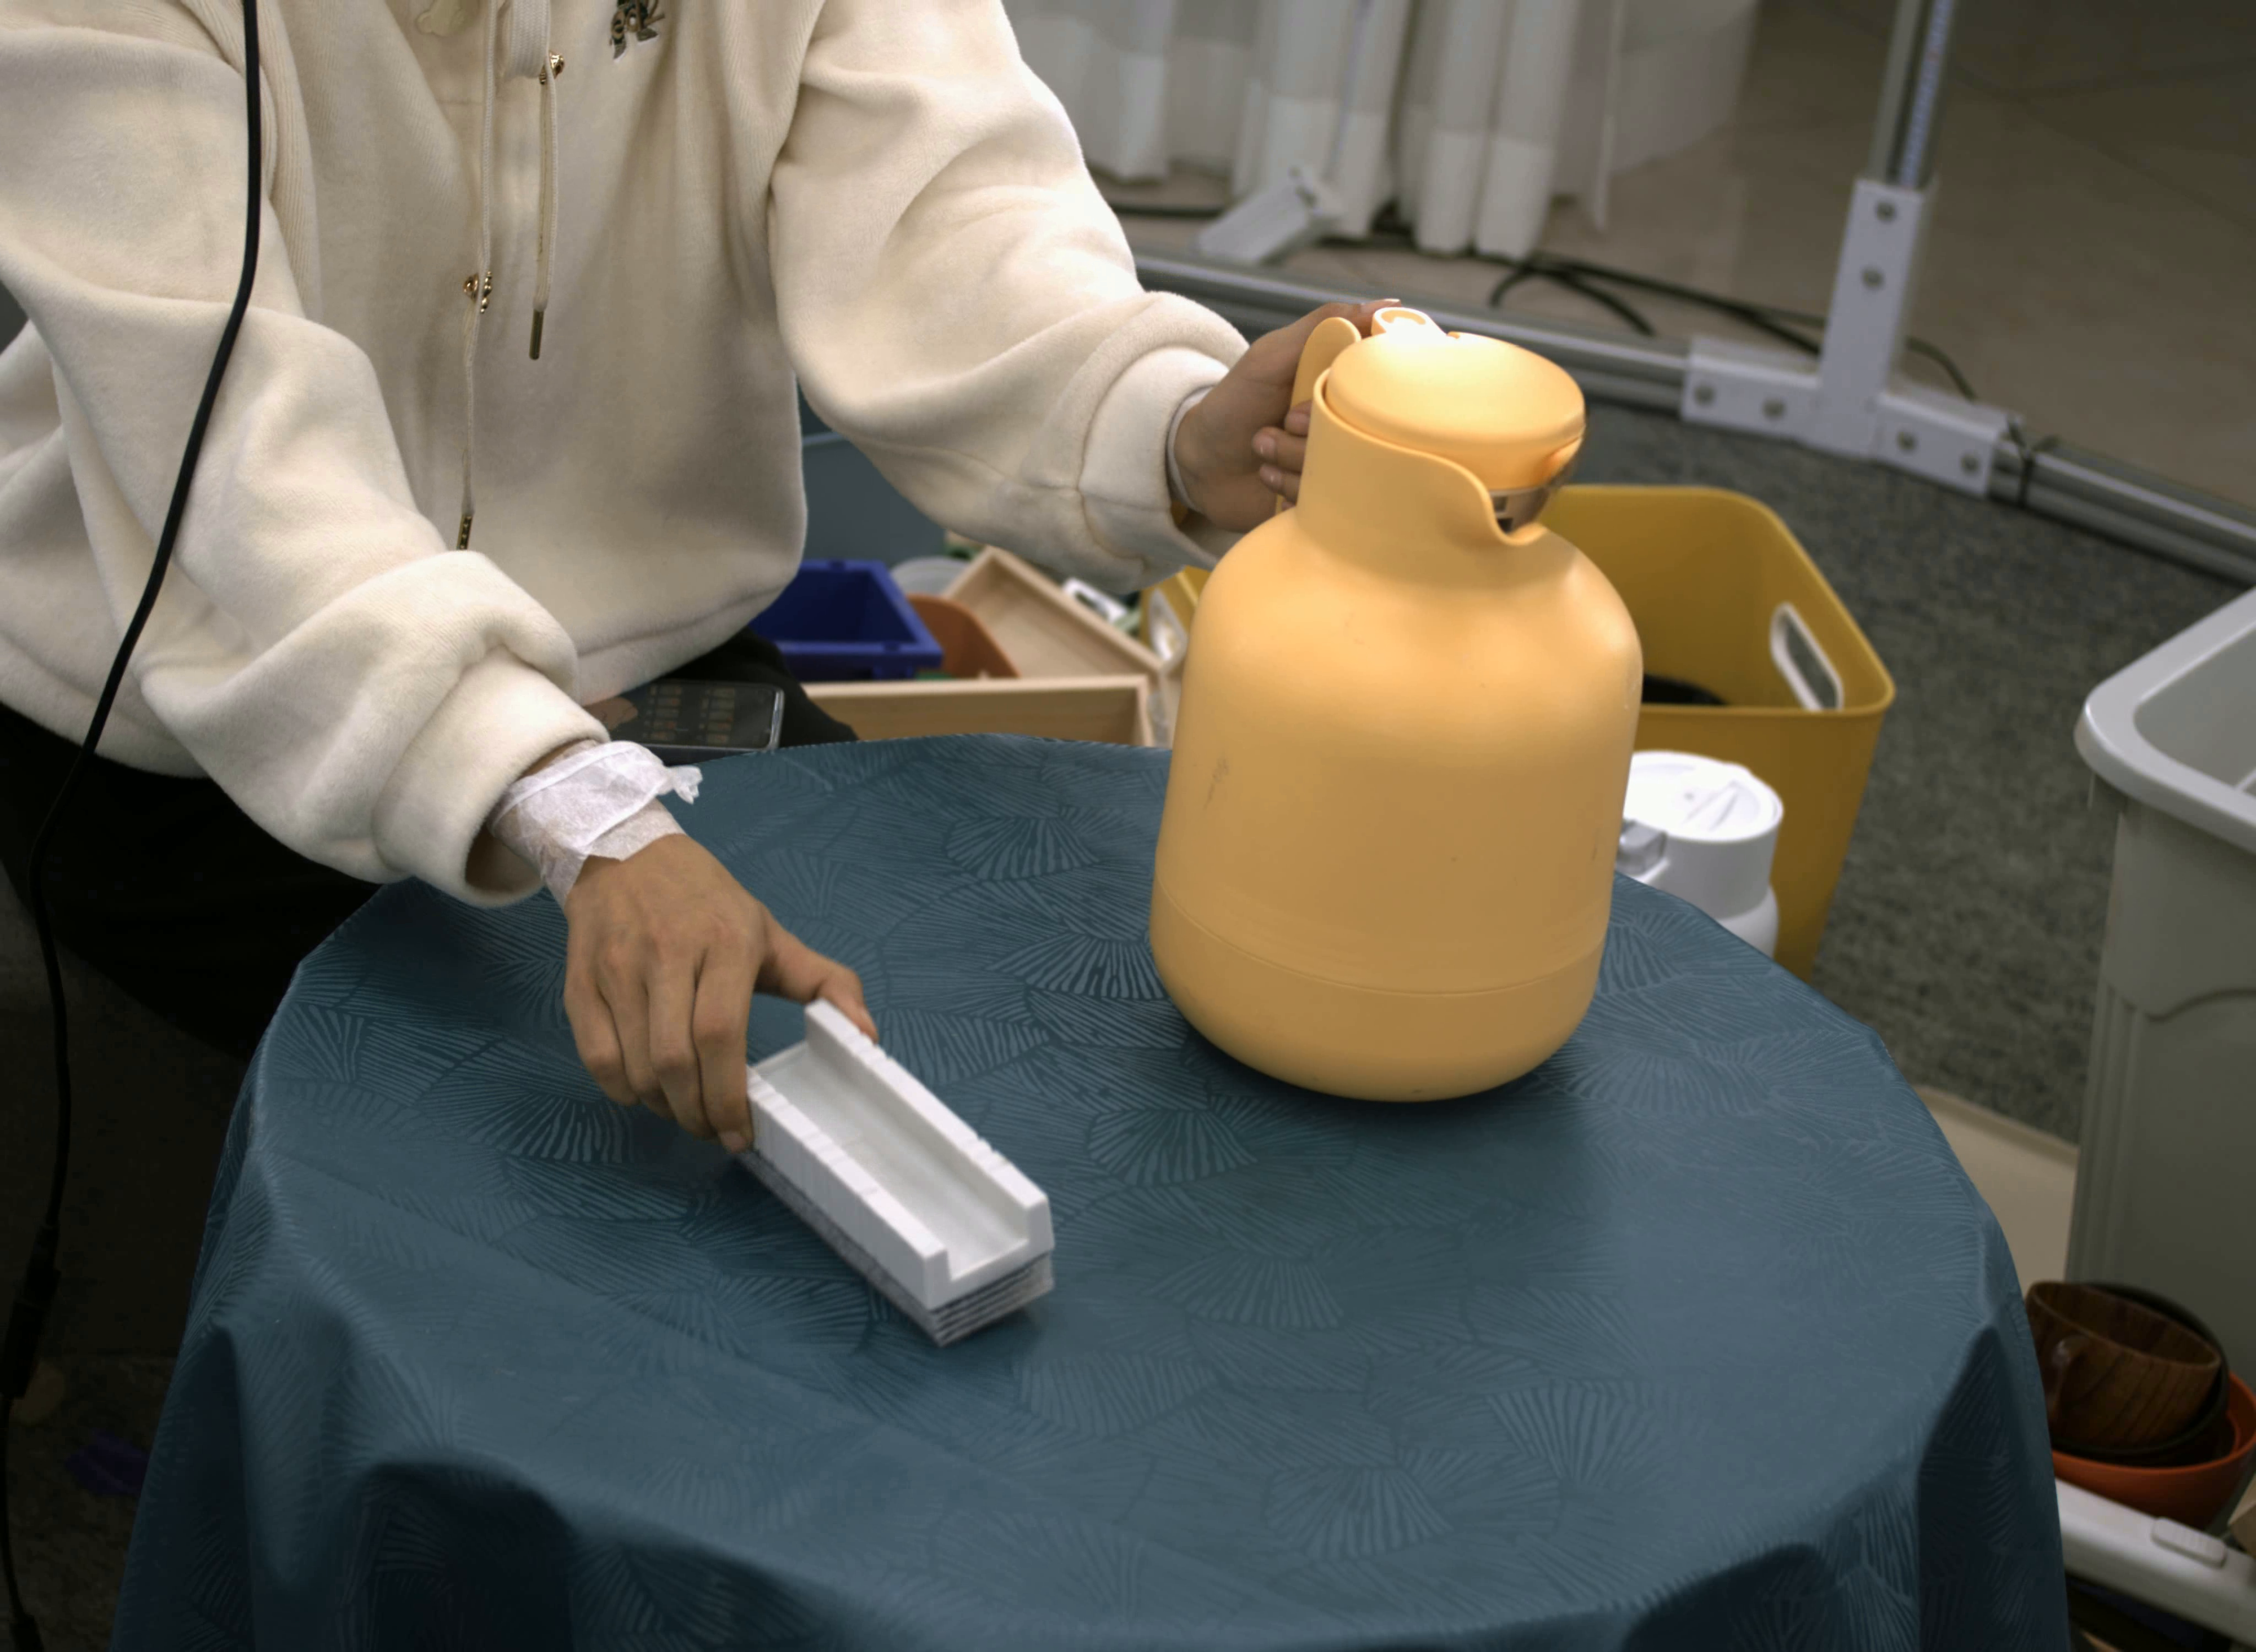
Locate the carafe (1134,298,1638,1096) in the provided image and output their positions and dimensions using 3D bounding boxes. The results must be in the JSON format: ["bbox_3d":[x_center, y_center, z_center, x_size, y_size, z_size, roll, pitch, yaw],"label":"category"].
[{"bbox_3d":[0.093,-0.055,1.881,0.162,0.259,0.204,2,28,-17],"label":"carafe"}]

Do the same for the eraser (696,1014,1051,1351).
[{"bbox_3d":[-0.084,0.116,1.742,0.049,0.046,0.135,-27,41,-27],"label":"eraser"}]
